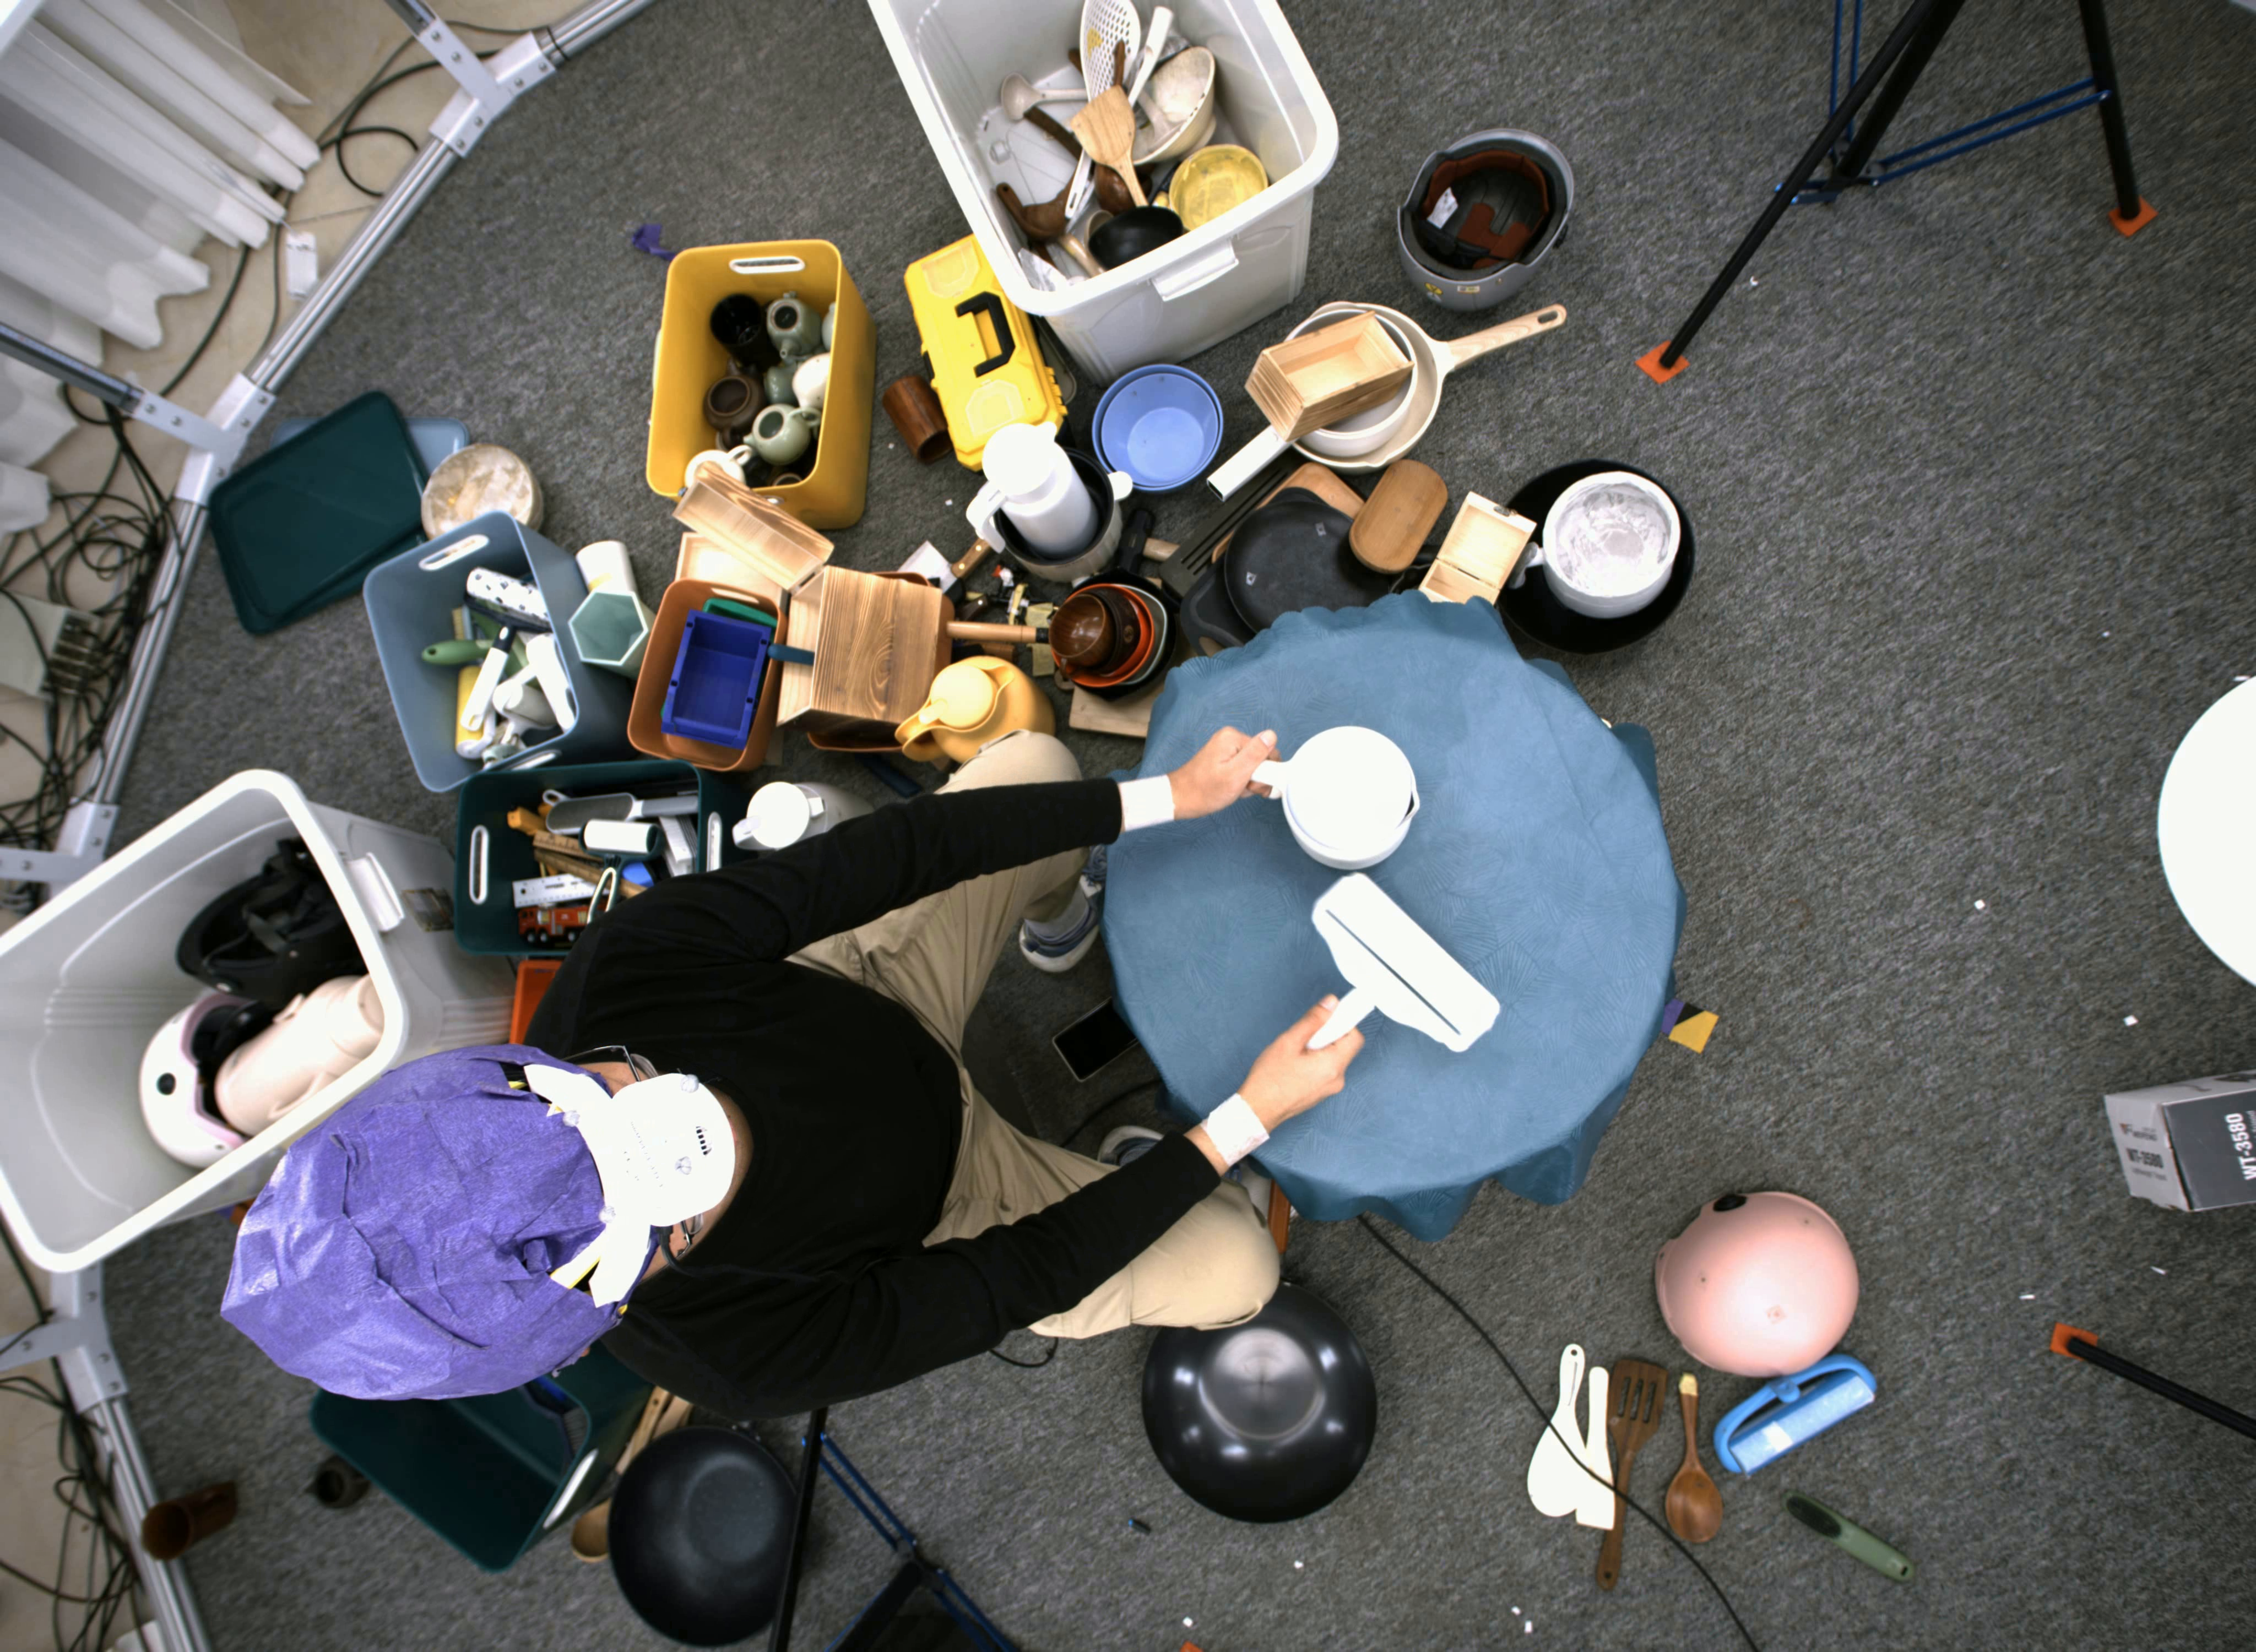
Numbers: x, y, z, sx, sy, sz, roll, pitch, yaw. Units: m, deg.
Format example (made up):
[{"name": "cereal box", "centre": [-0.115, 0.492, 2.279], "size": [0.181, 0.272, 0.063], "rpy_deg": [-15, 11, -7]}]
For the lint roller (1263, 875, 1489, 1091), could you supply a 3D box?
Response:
[{"name": "lint roller", "centre": [0.212, 0.186, 1.373], "size": [0.203, 0.047, 0.229], "rpy_deg": [38, 108, -7]}]

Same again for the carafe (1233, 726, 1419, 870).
[{"name": "carafe", "centre": [0.199, -0.033, 1.392], "size": [0.191, 0.183, 0.132], "rpy_deg": [14, 87, 13]}]
